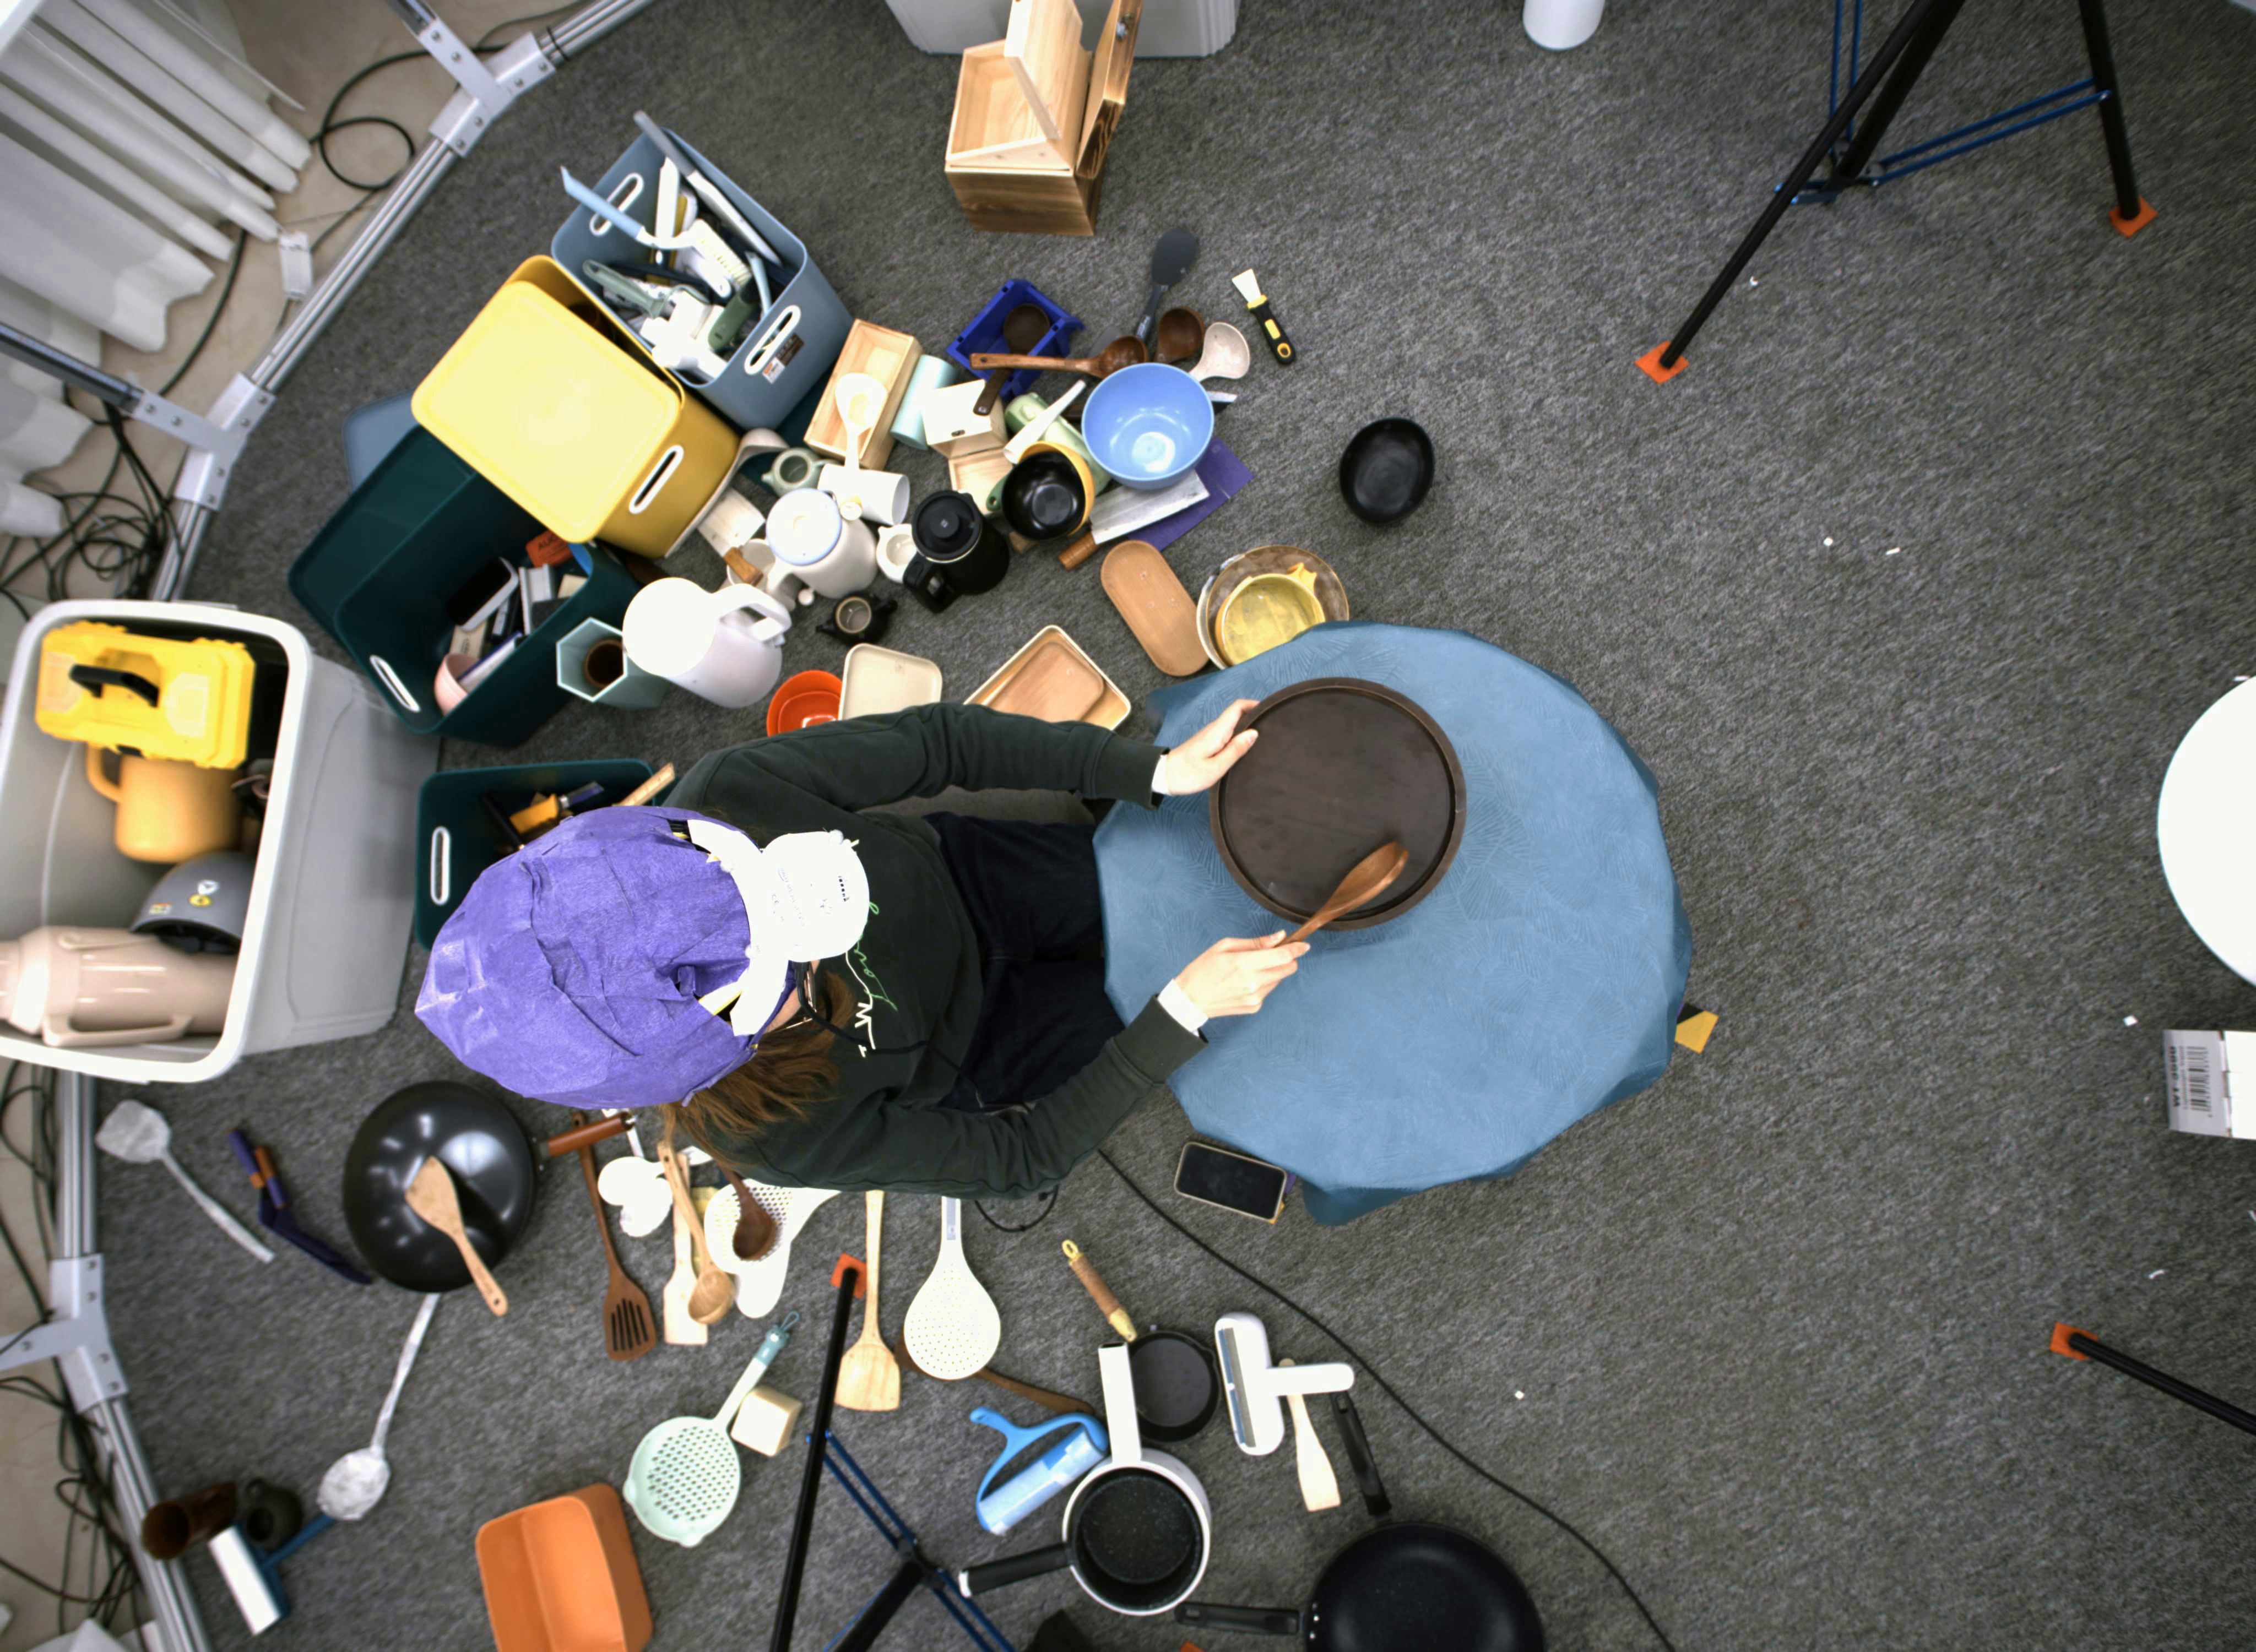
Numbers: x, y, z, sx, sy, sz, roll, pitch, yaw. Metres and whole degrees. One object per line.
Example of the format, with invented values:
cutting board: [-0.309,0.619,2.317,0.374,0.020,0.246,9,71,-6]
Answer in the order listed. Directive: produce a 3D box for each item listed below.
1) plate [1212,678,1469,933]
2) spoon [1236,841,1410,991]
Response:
plate: [0.209,-0.021,1.368,0.256,0.029,0.256,2,99,11]
spoon: [0.189,0.089,1.337,0.218,0.074,0.017,-41,105,14]
